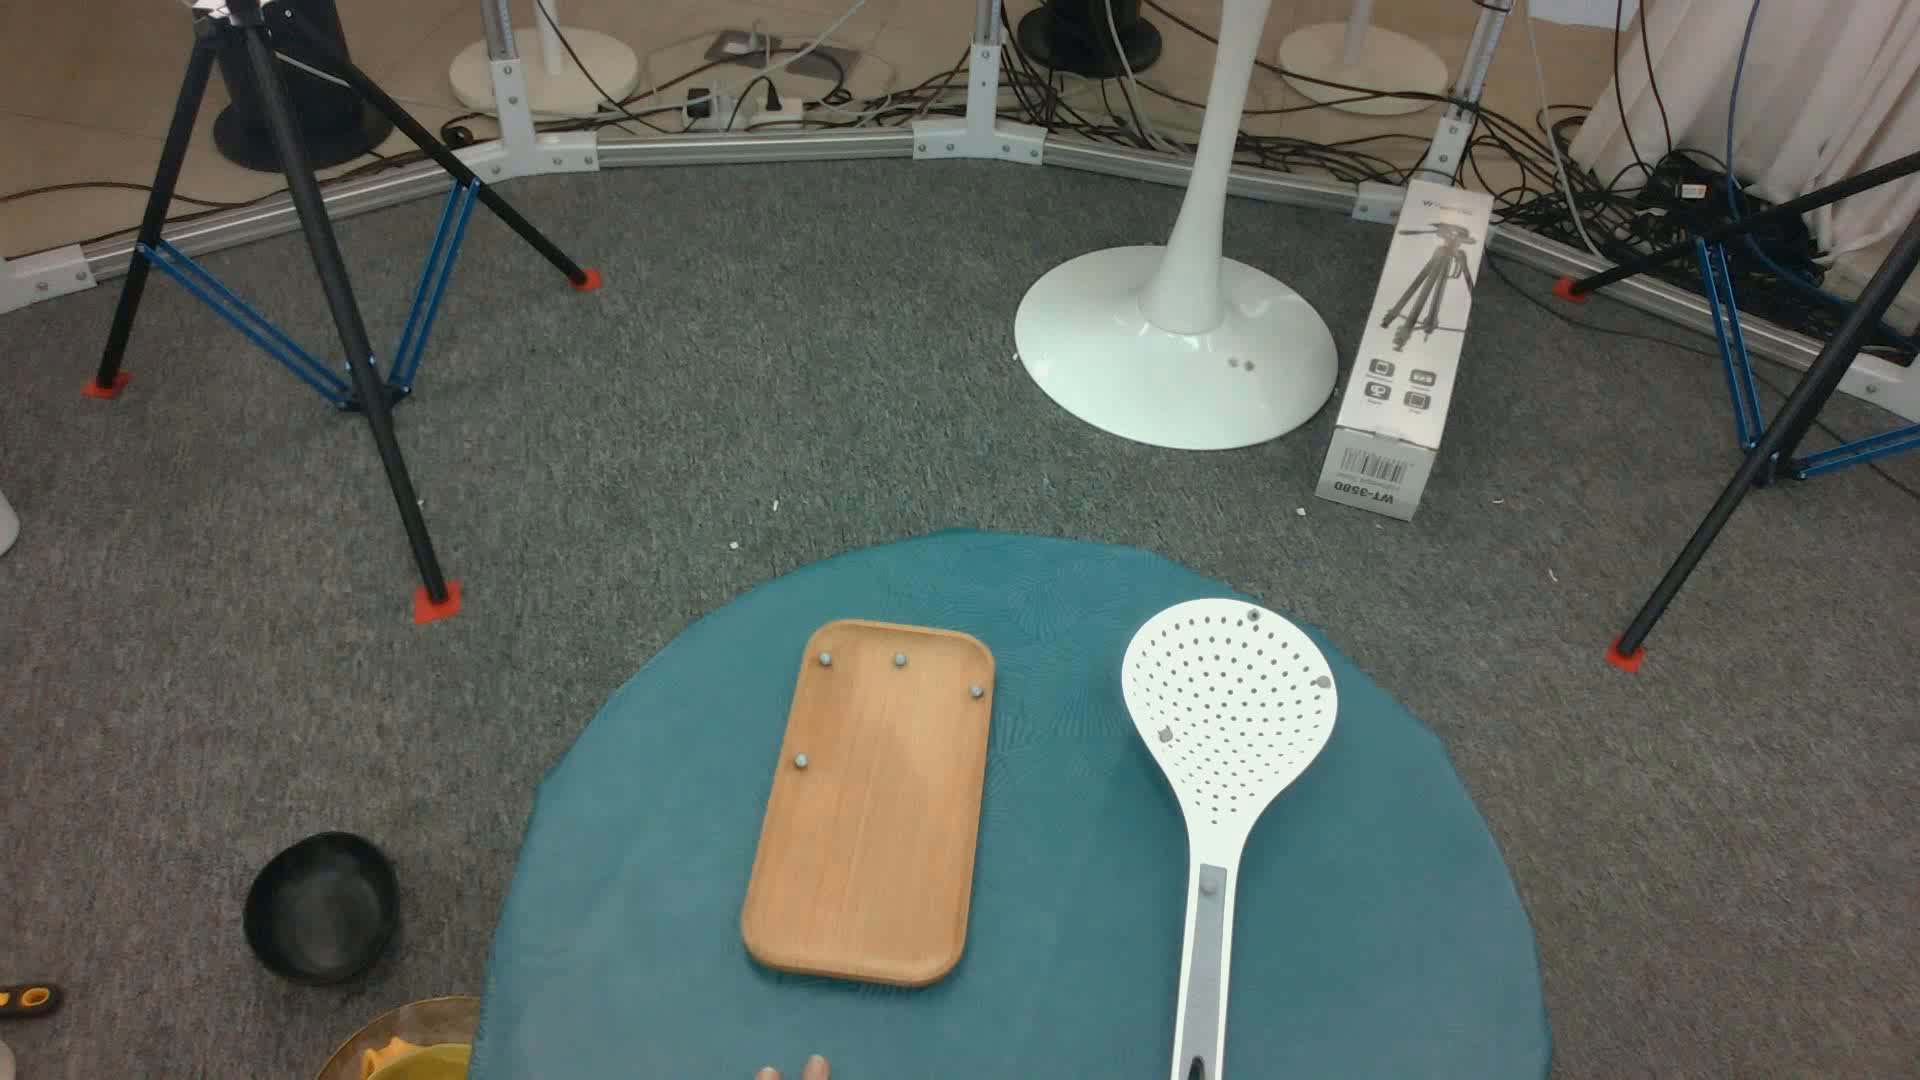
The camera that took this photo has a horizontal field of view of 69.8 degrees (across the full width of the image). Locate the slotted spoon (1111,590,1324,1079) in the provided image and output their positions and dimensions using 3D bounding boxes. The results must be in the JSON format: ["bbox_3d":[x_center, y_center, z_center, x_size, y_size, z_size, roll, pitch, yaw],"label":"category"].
[{"bbox_3d":[0.143,0.174,0.818,0.136,0.045,0.351,10,47,6],"label":"slotted spoon"}]

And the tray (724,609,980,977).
[{"bbox_3d":[-0.060,0.146,0.843,0.130,0.023,0.252,6,47,2],"label":"tray"}]
